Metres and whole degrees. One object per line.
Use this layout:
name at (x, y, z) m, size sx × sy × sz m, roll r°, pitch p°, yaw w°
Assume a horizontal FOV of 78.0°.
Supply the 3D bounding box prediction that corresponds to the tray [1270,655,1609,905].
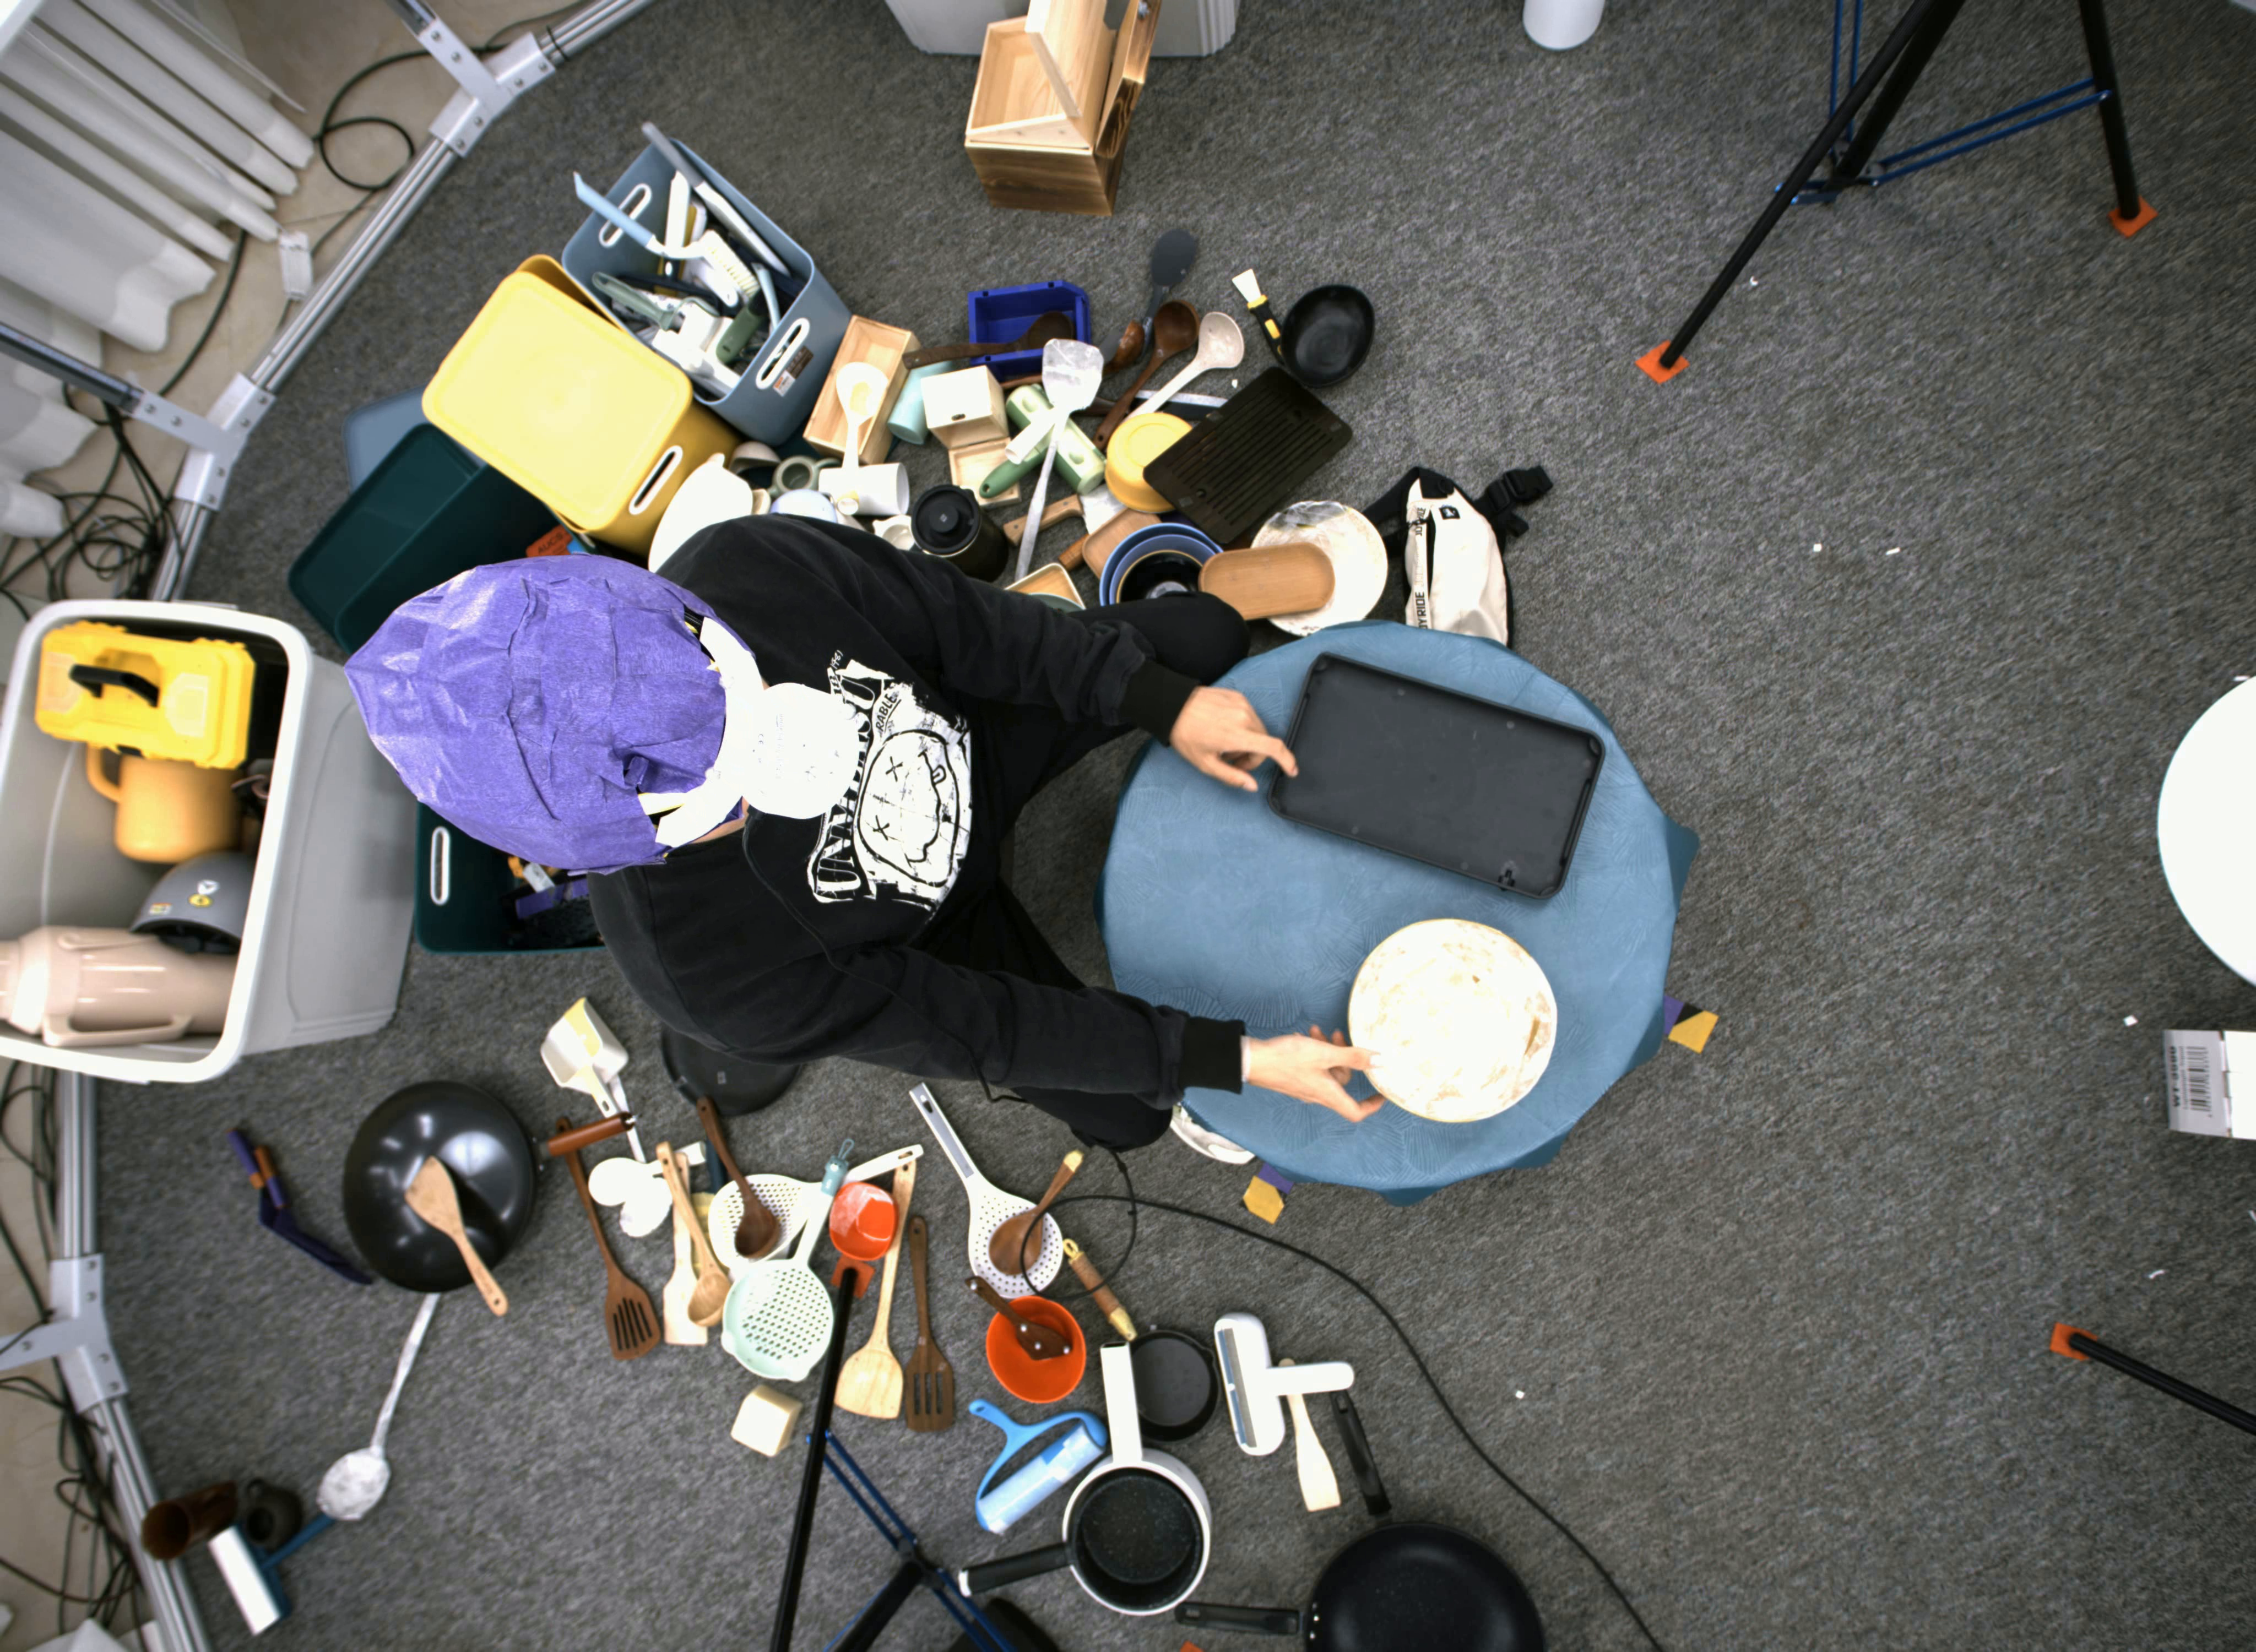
tray at (0.324, -0.051, 1.443) m, size 0.318 × 0.037 × 0.184 m, roll 19°, pitch 91°, yaw 12°

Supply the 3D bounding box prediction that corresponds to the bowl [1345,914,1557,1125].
bowl at (0.323, 0.191, 1.400) m, size 0.215 × 0.094 × 0.214 m, roll -1°, pitch 87°, yaw 10°
